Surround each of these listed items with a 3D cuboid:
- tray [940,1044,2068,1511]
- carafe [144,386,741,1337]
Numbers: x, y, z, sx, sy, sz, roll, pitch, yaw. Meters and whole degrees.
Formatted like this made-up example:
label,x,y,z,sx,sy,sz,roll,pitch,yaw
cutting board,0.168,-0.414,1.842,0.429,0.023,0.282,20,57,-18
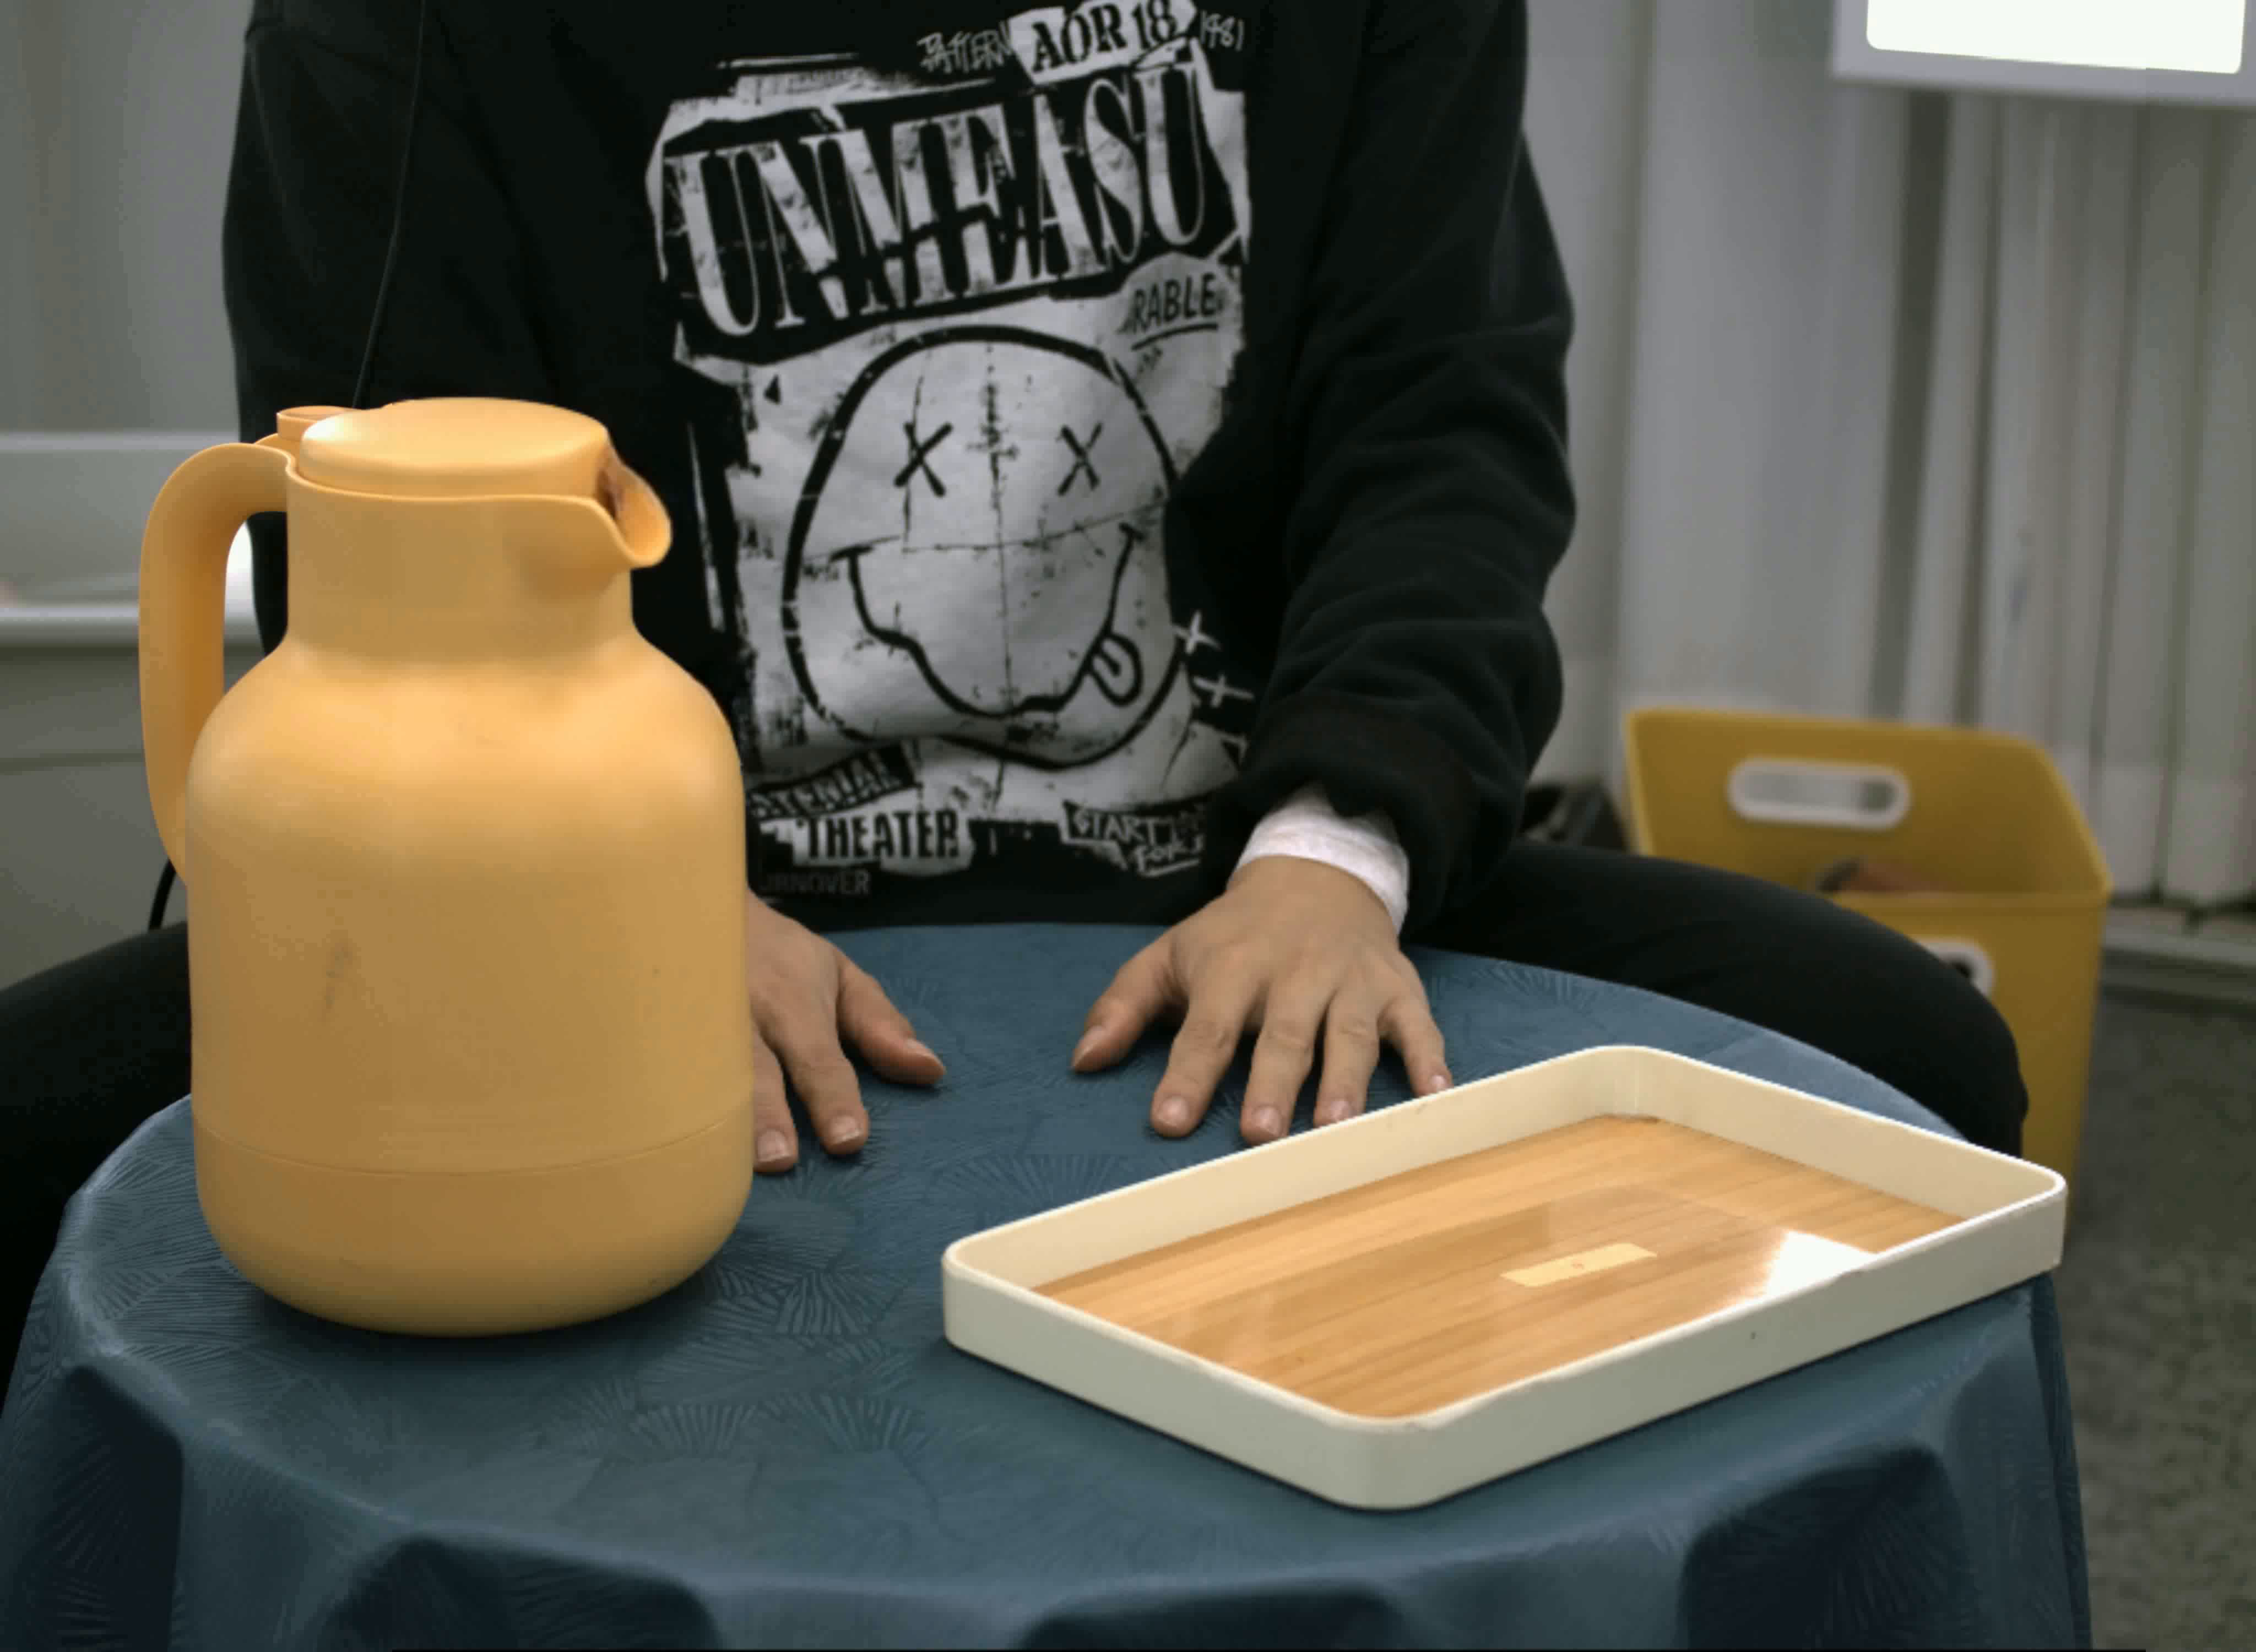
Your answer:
label,x,y,z,sx,sy,sz,roll,pitch,yaw
tray,0.112,0.125,1.530,0.302,0.027,0.189,-13,21,-41
carafe,-0.206,0.002,1.522,0.200,0.262,0.164,14,19,37
